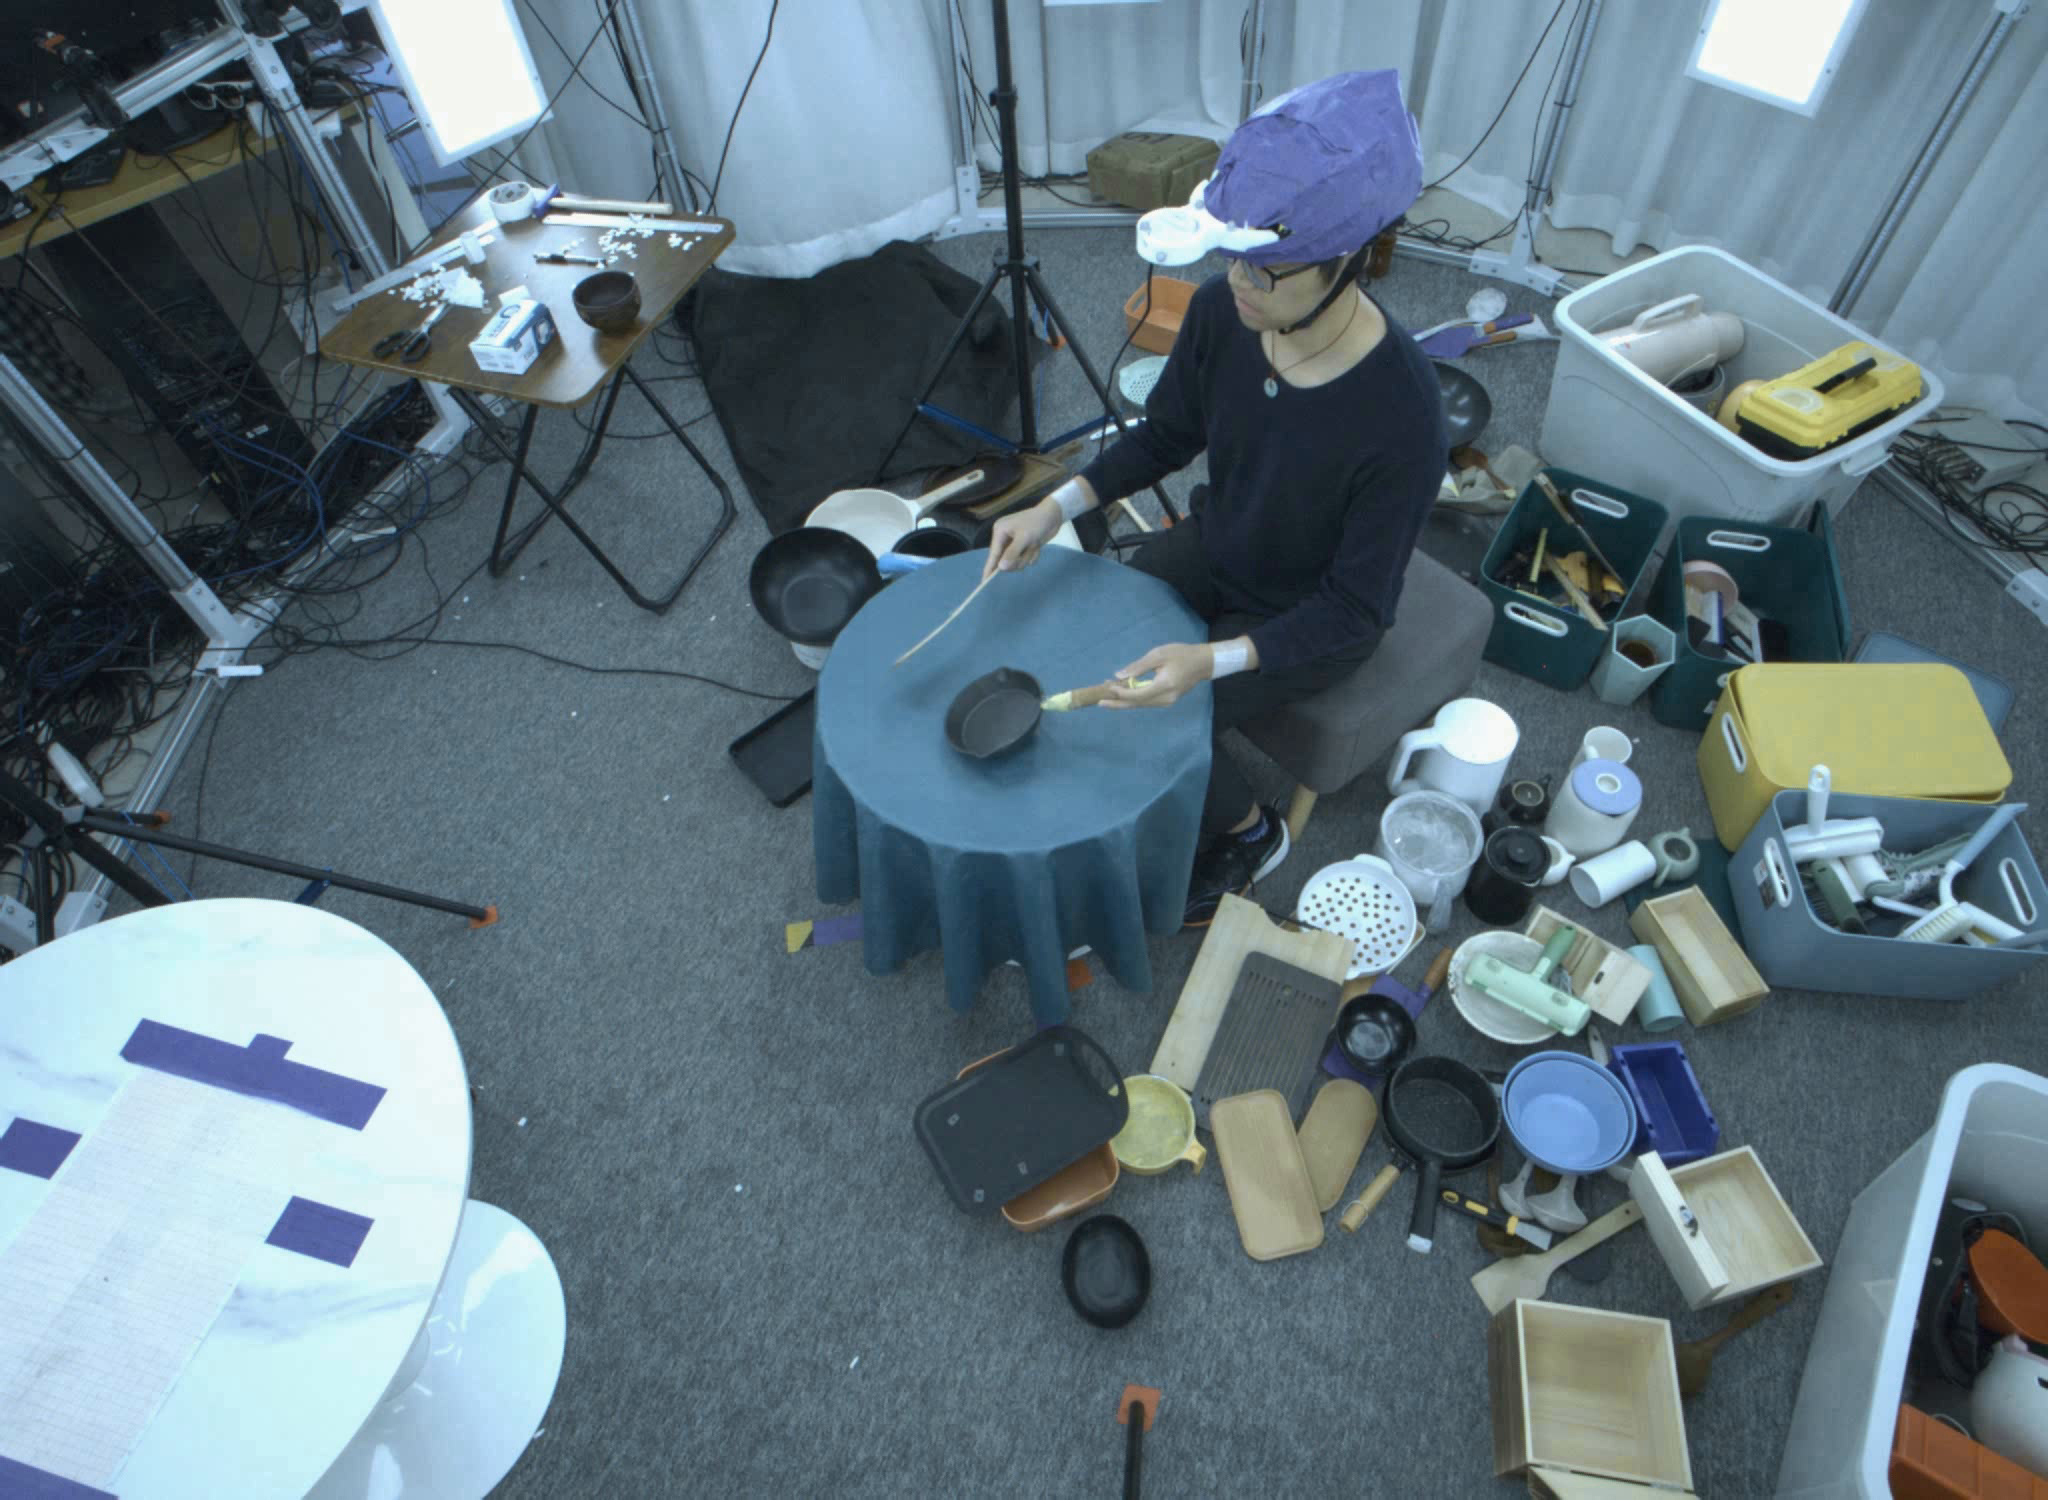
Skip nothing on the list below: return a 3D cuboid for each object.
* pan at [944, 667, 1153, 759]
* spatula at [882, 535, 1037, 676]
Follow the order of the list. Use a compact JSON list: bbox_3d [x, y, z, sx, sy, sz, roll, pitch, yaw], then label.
[{"bbox_3d":[0.034,-0.061,1.738,0.319,0.050,0.168,-7,51,25],"label":"pan"},{"bbox_3d":[-0.090,-0.222,1.843,0.016,0.079,0.329,47,69,-10],"label":"spatula"}]
